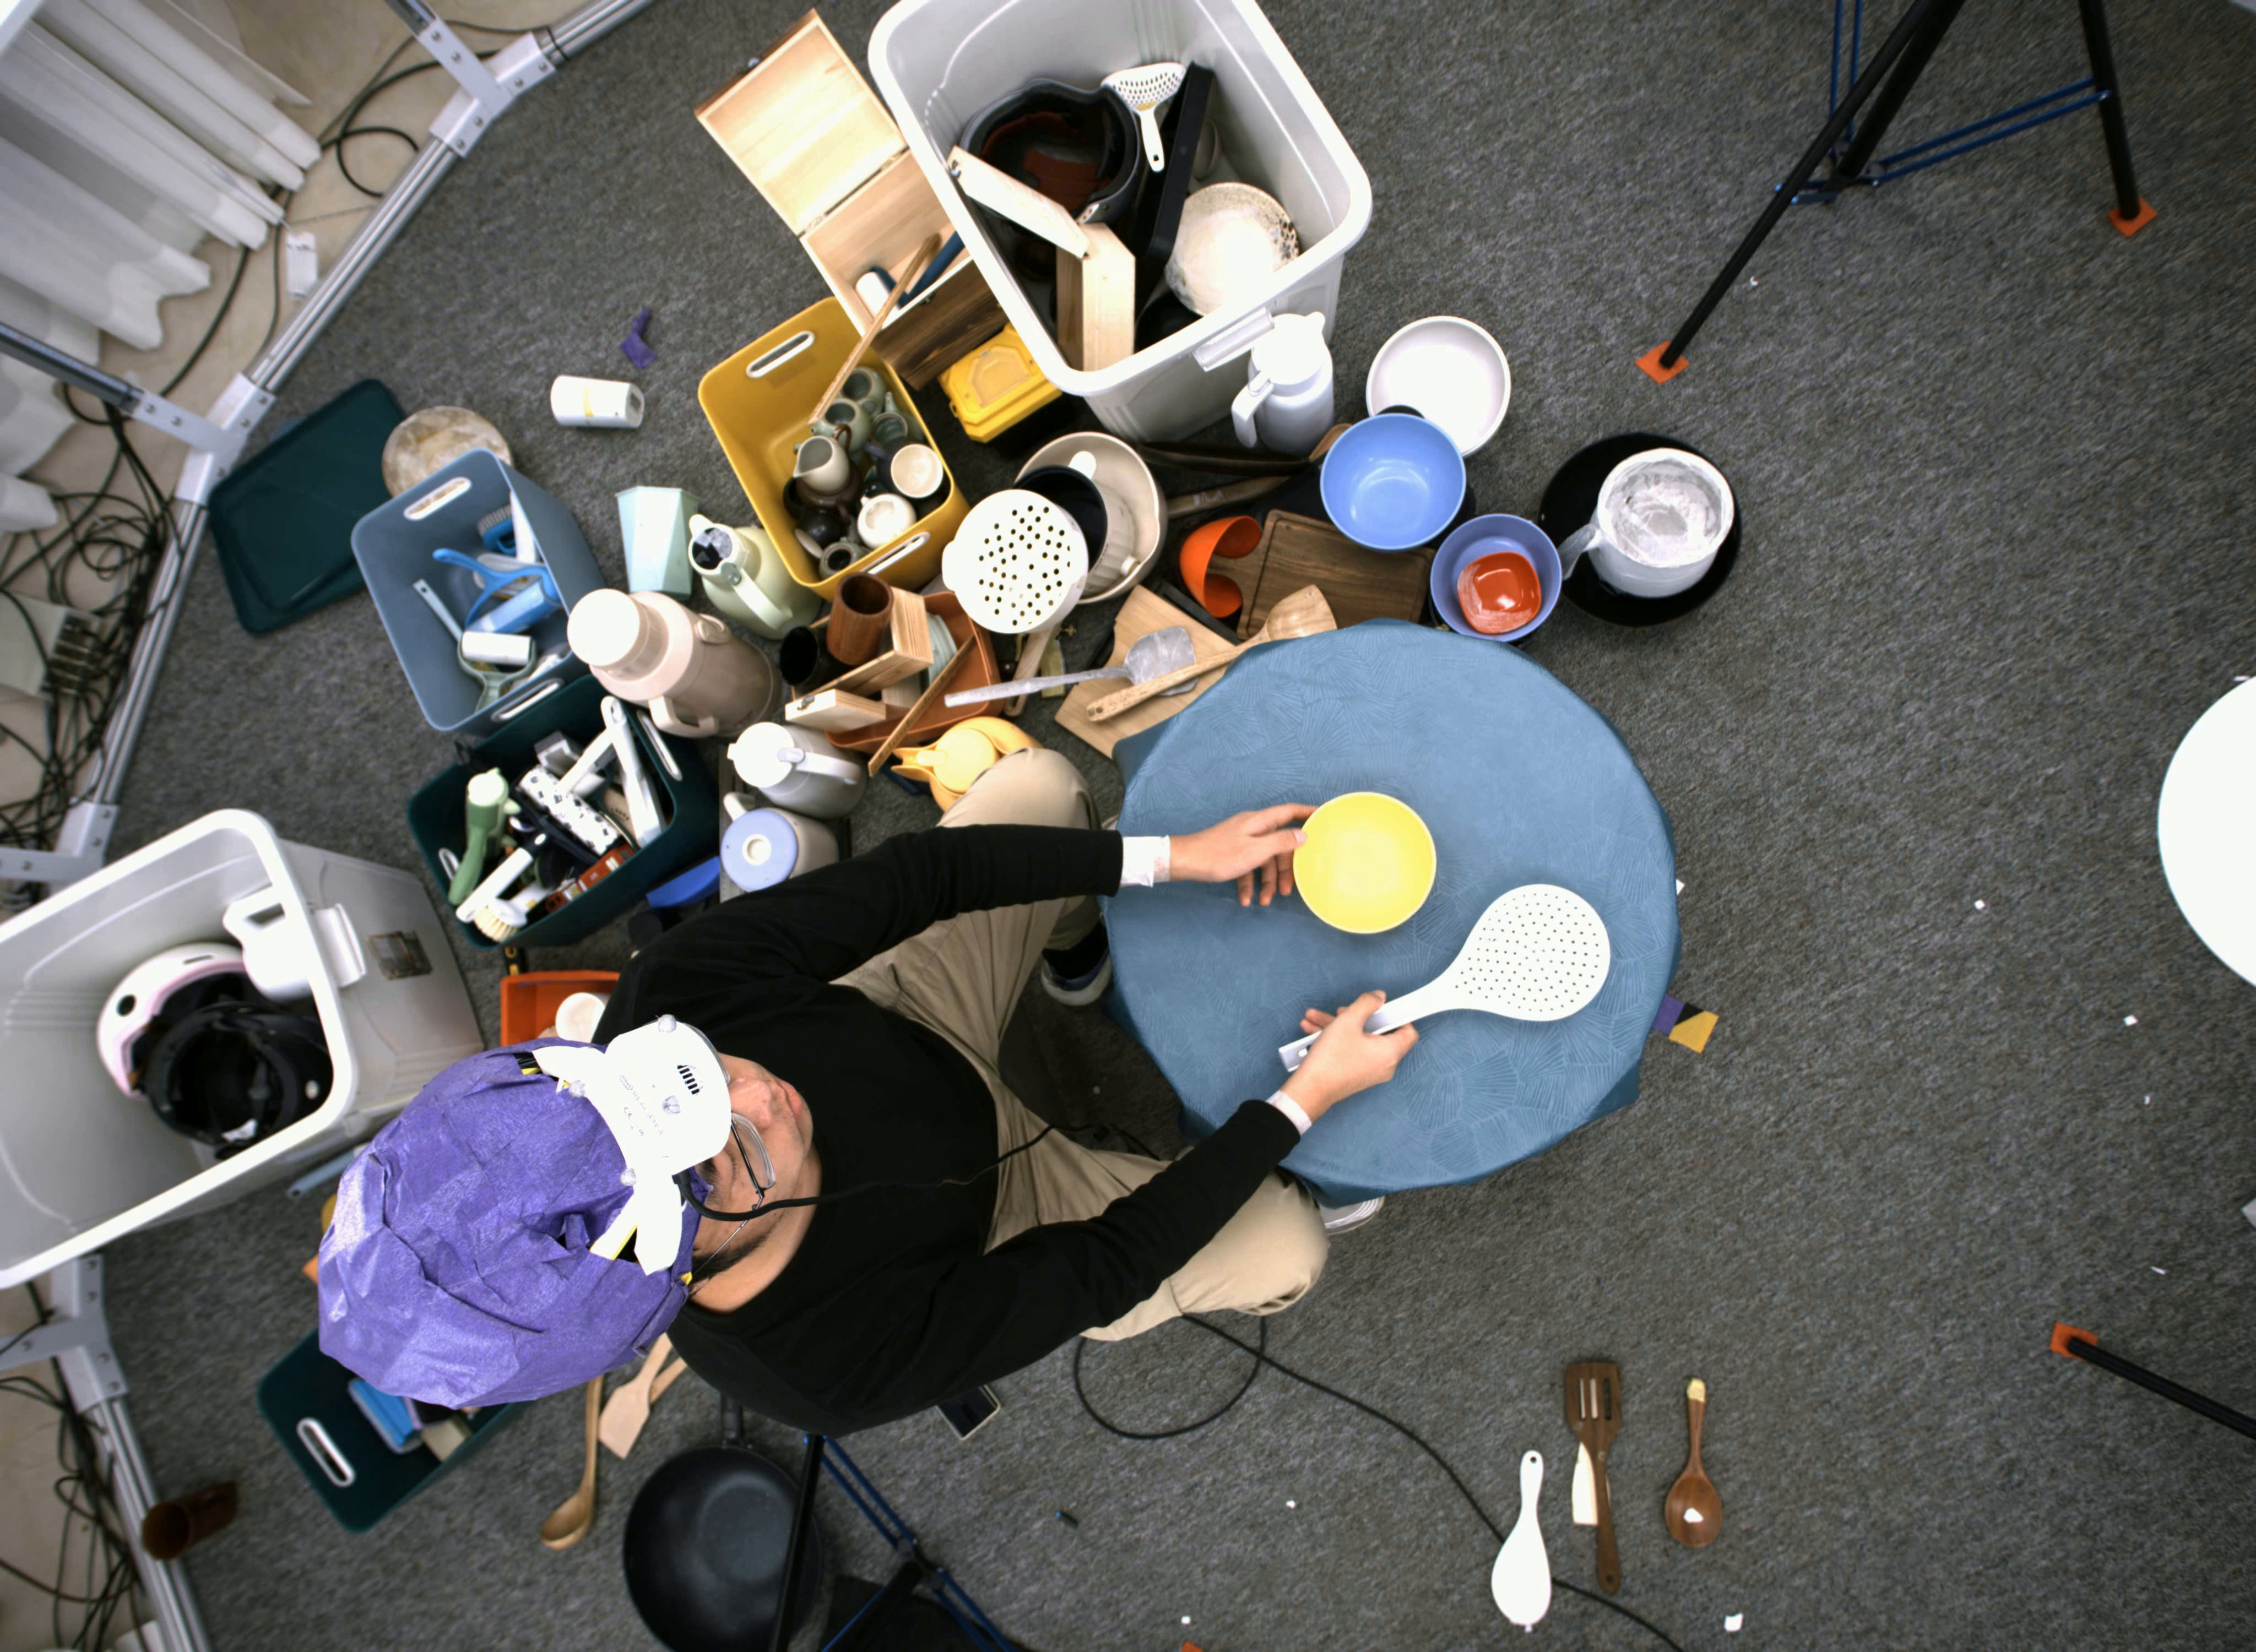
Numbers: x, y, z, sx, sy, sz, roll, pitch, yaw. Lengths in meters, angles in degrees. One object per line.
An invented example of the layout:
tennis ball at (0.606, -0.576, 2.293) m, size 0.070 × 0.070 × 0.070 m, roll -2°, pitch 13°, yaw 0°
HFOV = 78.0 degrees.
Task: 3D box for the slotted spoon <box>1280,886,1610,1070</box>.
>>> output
slotted spoon at (0.320, 0.170, 1.406) m, size 0.350 × 0.046 × 0.136 m, roll -23°, pitch 88°, yaw 1°

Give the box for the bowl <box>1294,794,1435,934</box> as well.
bowl at (0.246, 0.041, 1.438) m, size 0.146 × 0.060 × 0.144 m, roll -1°, pitch 84°, yaw 11°
